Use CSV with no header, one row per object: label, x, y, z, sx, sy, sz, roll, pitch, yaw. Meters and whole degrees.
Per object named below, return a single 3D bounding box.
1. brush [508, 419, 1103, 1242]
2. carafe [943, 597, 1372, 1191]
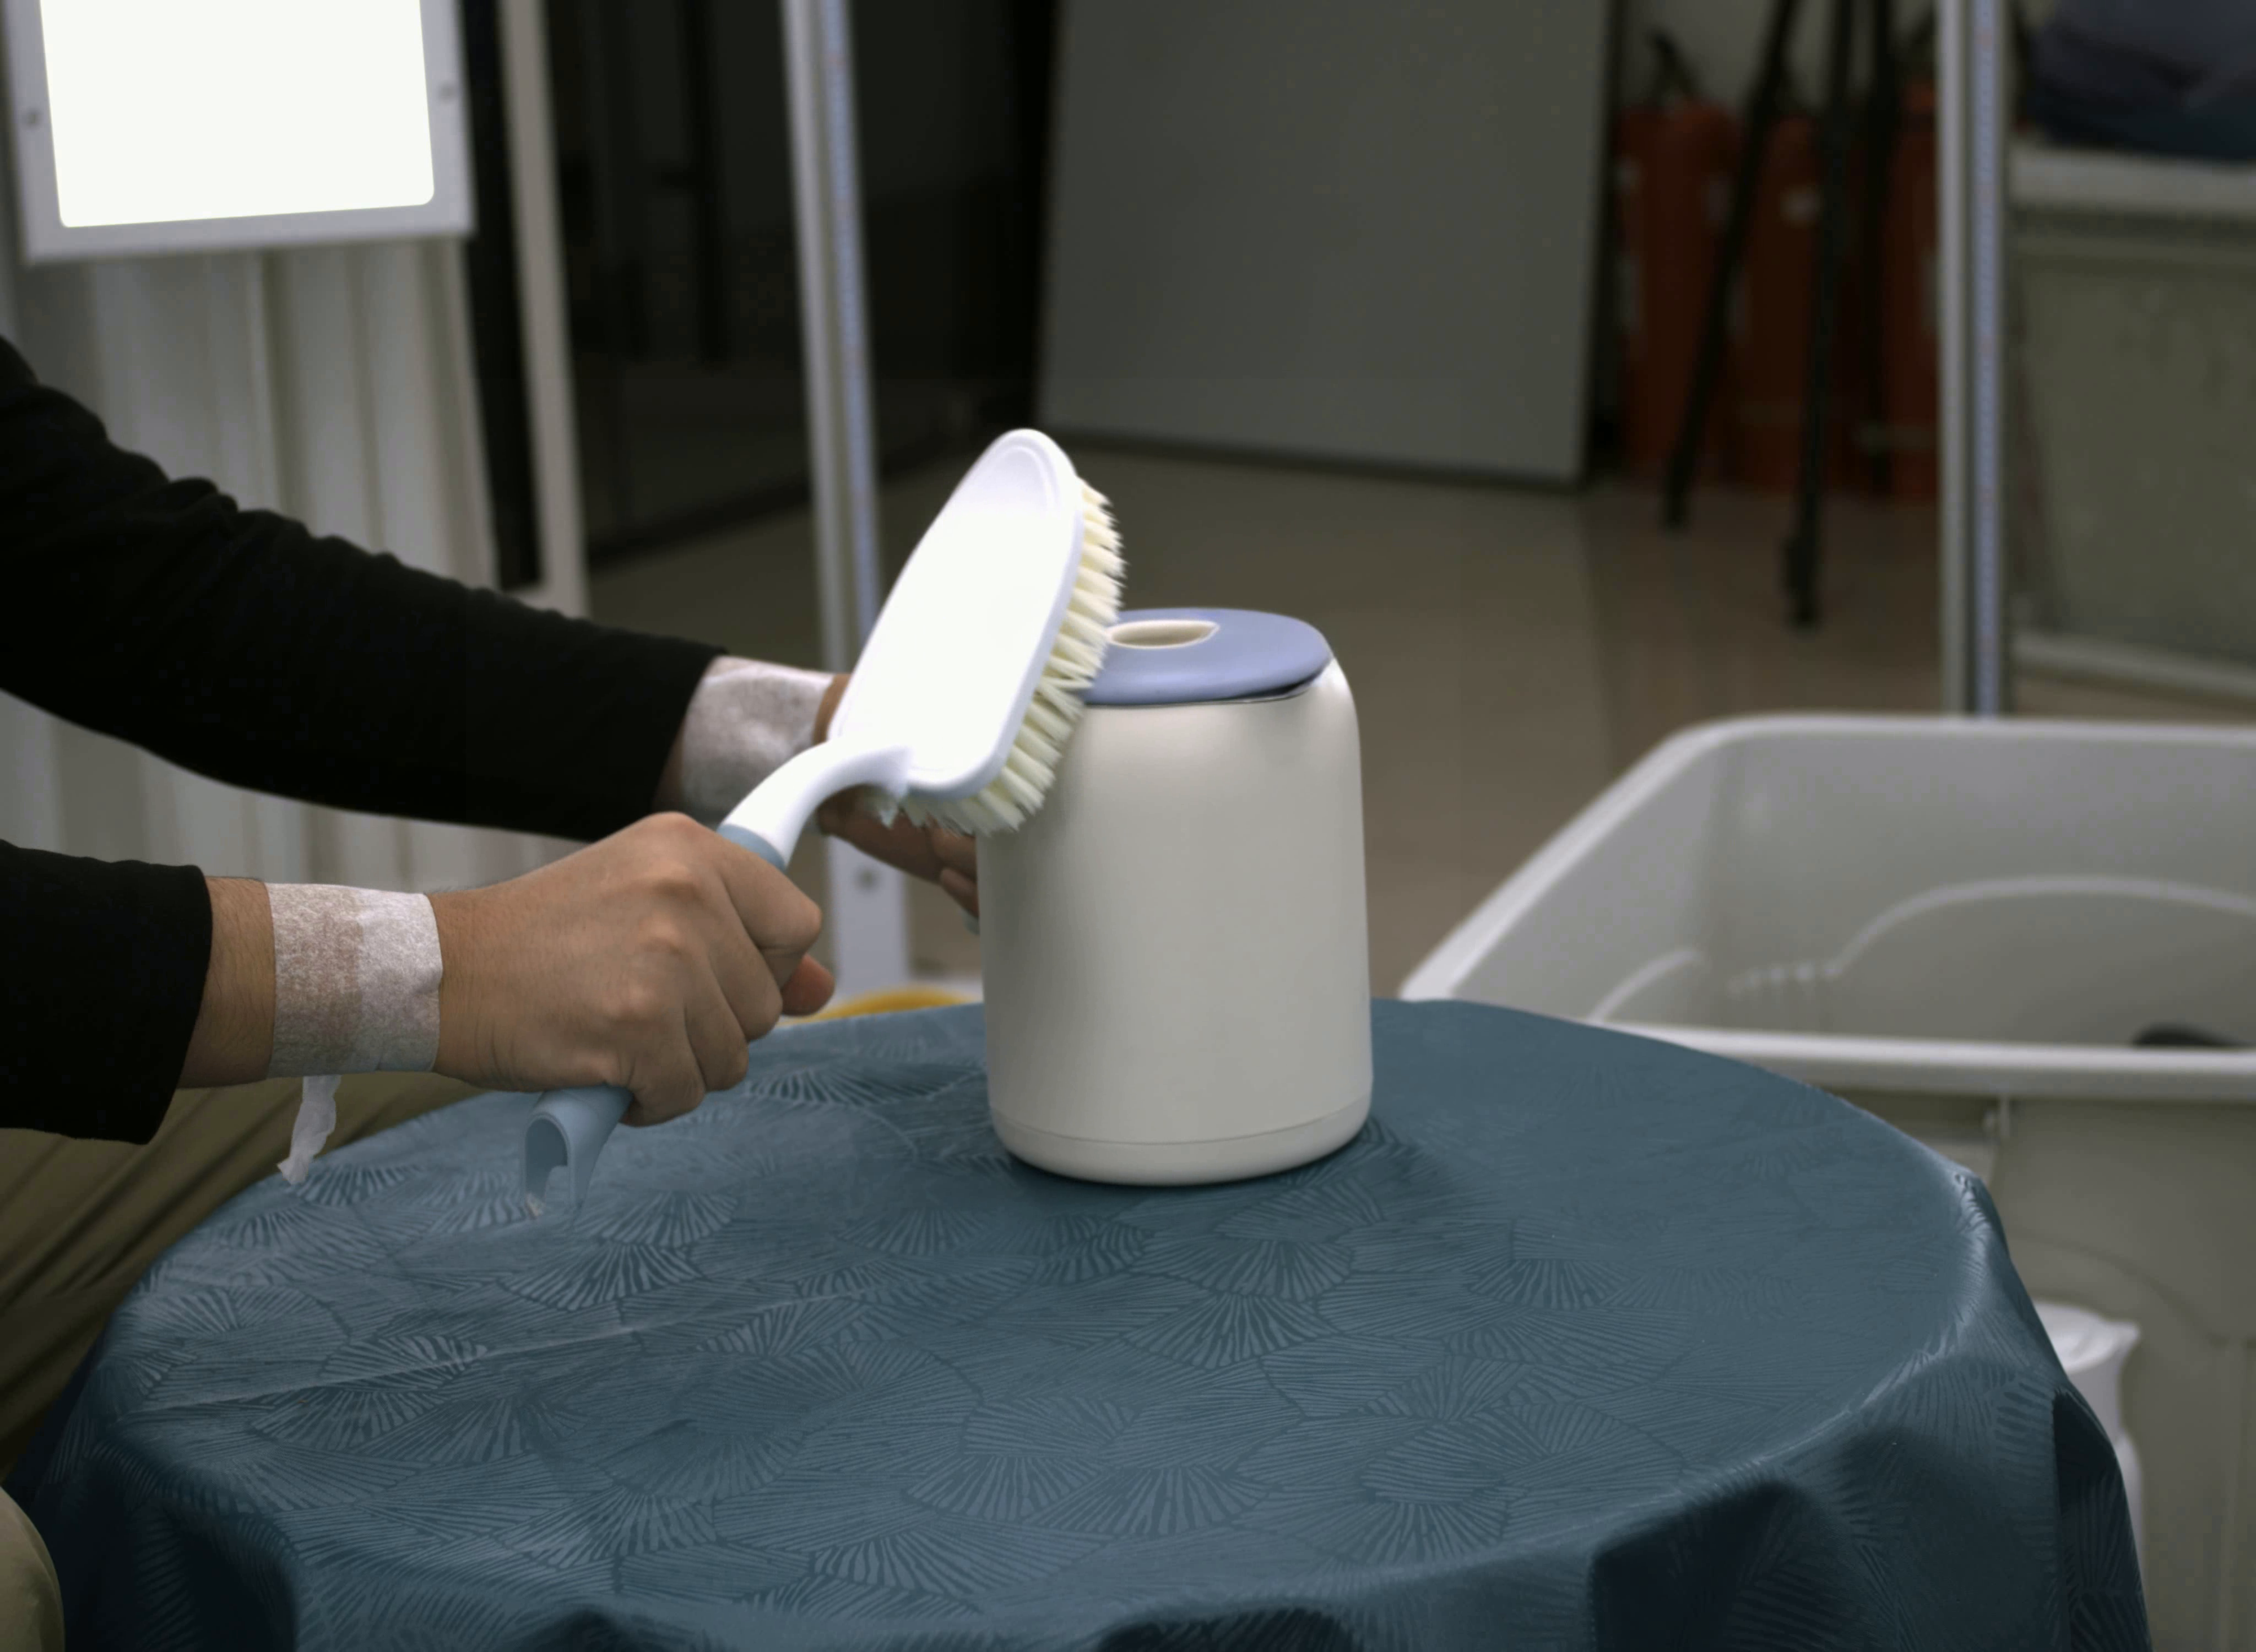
brush,-0.095,0.014,1.700,0.084,0.325,0.084,33,-27,-7
carafe,-0.001,0.018,1.824,0.129,0.184,0.193,-12,15,-36
